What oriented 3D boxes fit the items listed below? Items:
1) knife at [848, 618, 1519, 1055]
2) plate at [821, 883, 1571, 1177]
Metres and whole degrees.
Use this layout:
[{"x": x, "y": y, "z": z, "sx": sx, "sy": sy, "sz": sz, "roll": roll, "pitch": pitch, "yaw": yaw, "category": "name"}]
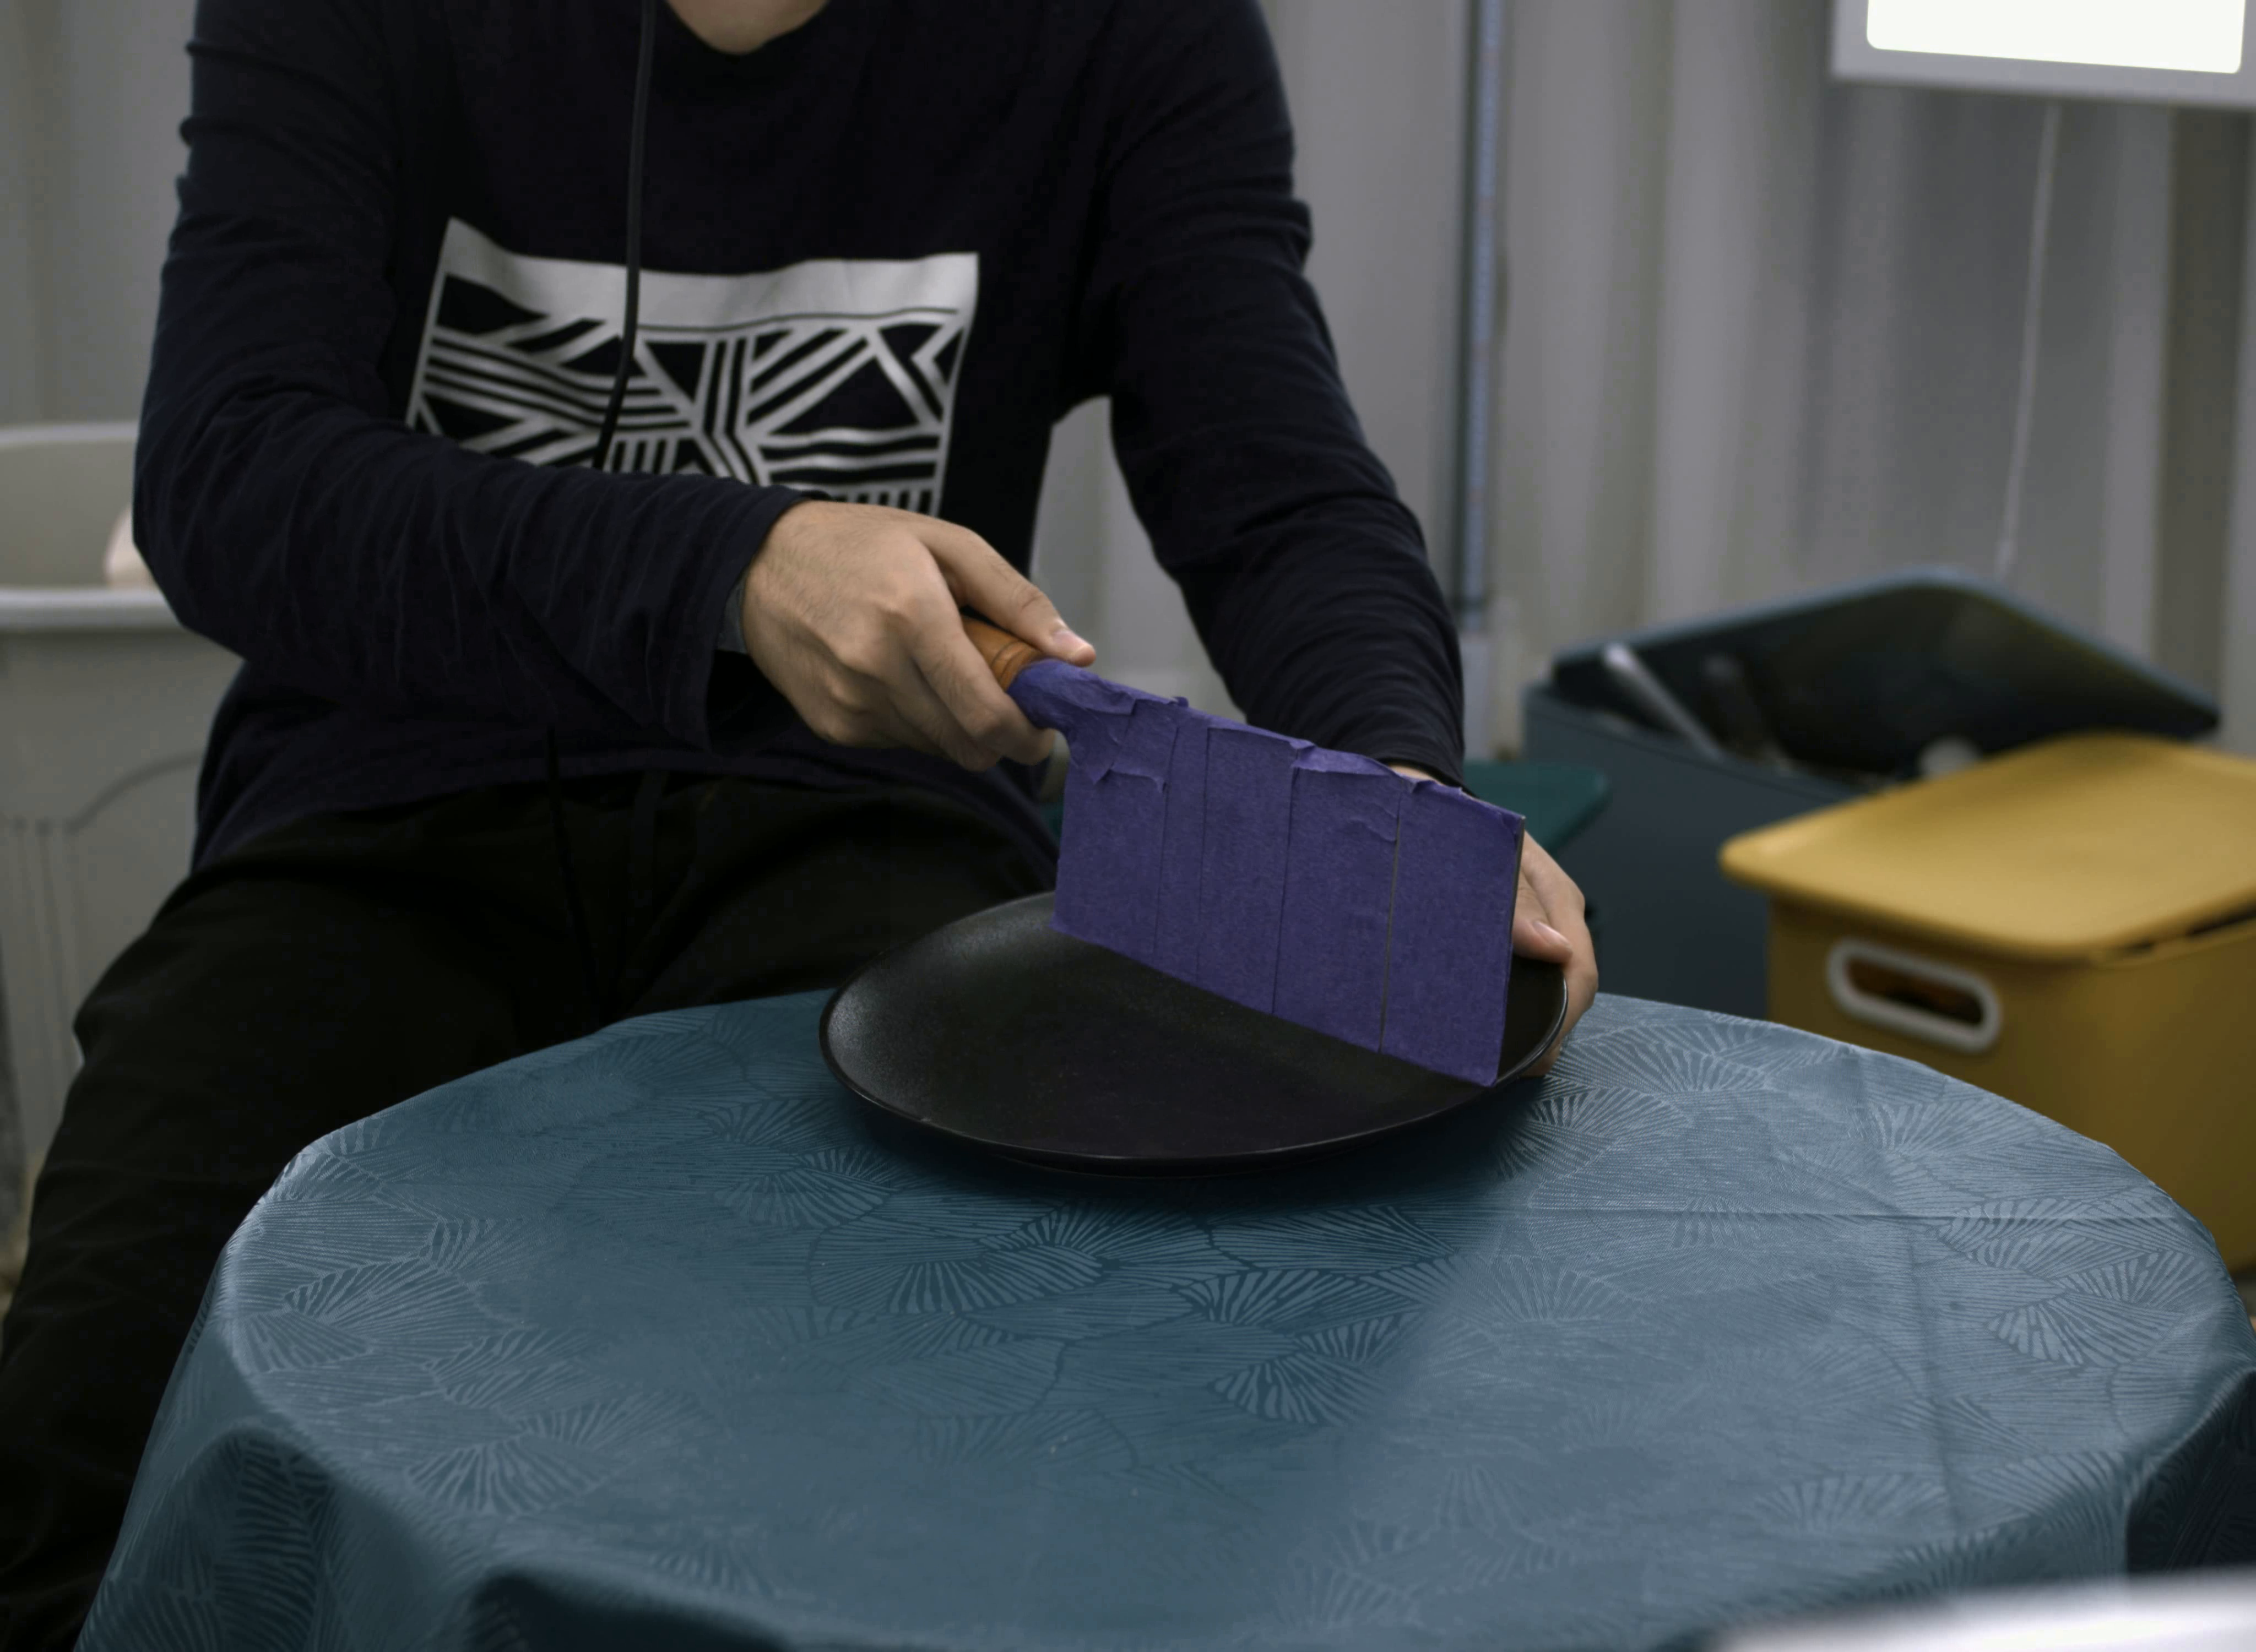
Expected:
[{"x": 0.011, "y": 0.003, "z": 1.721, "sx": 0.032, "sy": 0.104, "sz": 0.311, "roll": -4, "pitch": 15, "yaw": -41, "category": "knife"}, {"x": 0.022, "y": 0.066, "z": 1.712, "sx": 0.243, "sy": 0.023, "sz": 0.243, "roll": -3, "pitch": 21, "yaw": 2, "category": "plate"}]
